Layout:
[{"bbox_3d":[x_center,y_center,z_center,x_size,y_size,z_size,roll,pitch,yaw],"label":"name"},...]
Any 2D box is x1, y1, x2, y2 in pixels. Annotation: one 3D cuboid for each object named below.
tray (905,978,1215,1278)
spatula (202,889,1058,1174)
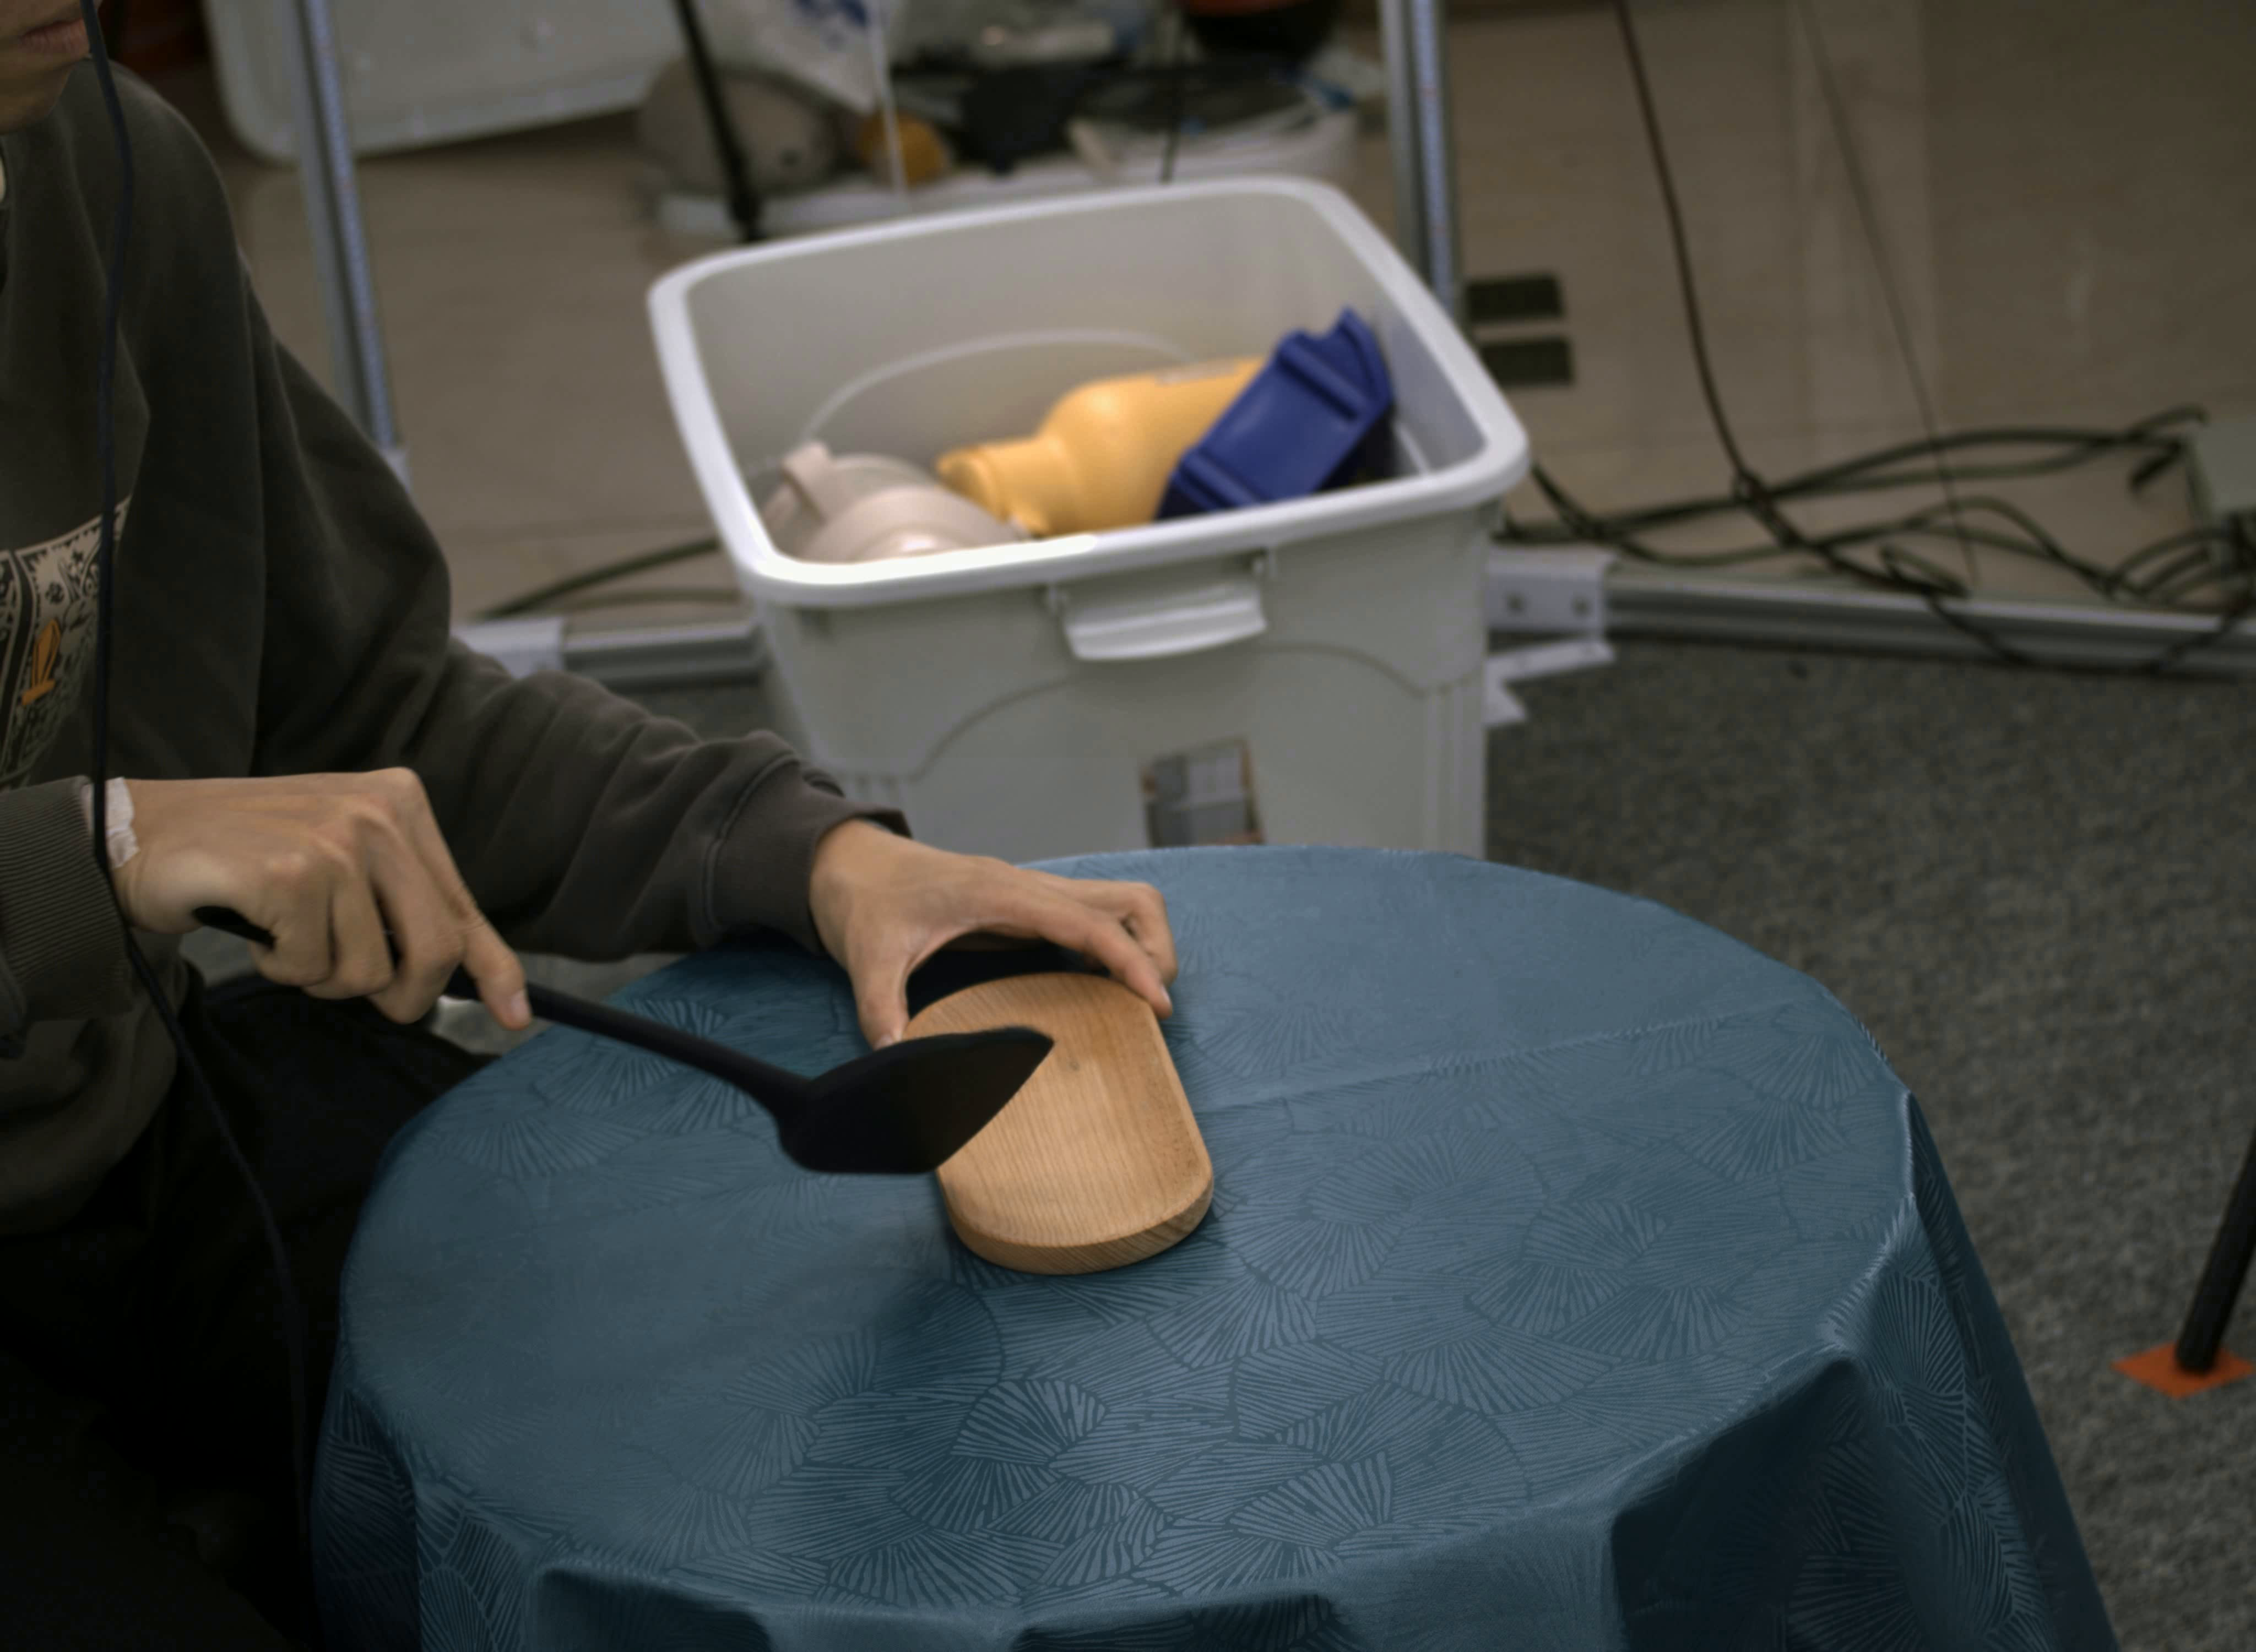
[{"bbox_3d":[-0.028,0.114,2.188,0.101,0.020,0.228,-10,26,-5],"label":"tray"},{"bbox_3d":[-0.181,0.065,2.034,0.327,0.101,0.039,20,42,-25],"label":"spatula"}]
